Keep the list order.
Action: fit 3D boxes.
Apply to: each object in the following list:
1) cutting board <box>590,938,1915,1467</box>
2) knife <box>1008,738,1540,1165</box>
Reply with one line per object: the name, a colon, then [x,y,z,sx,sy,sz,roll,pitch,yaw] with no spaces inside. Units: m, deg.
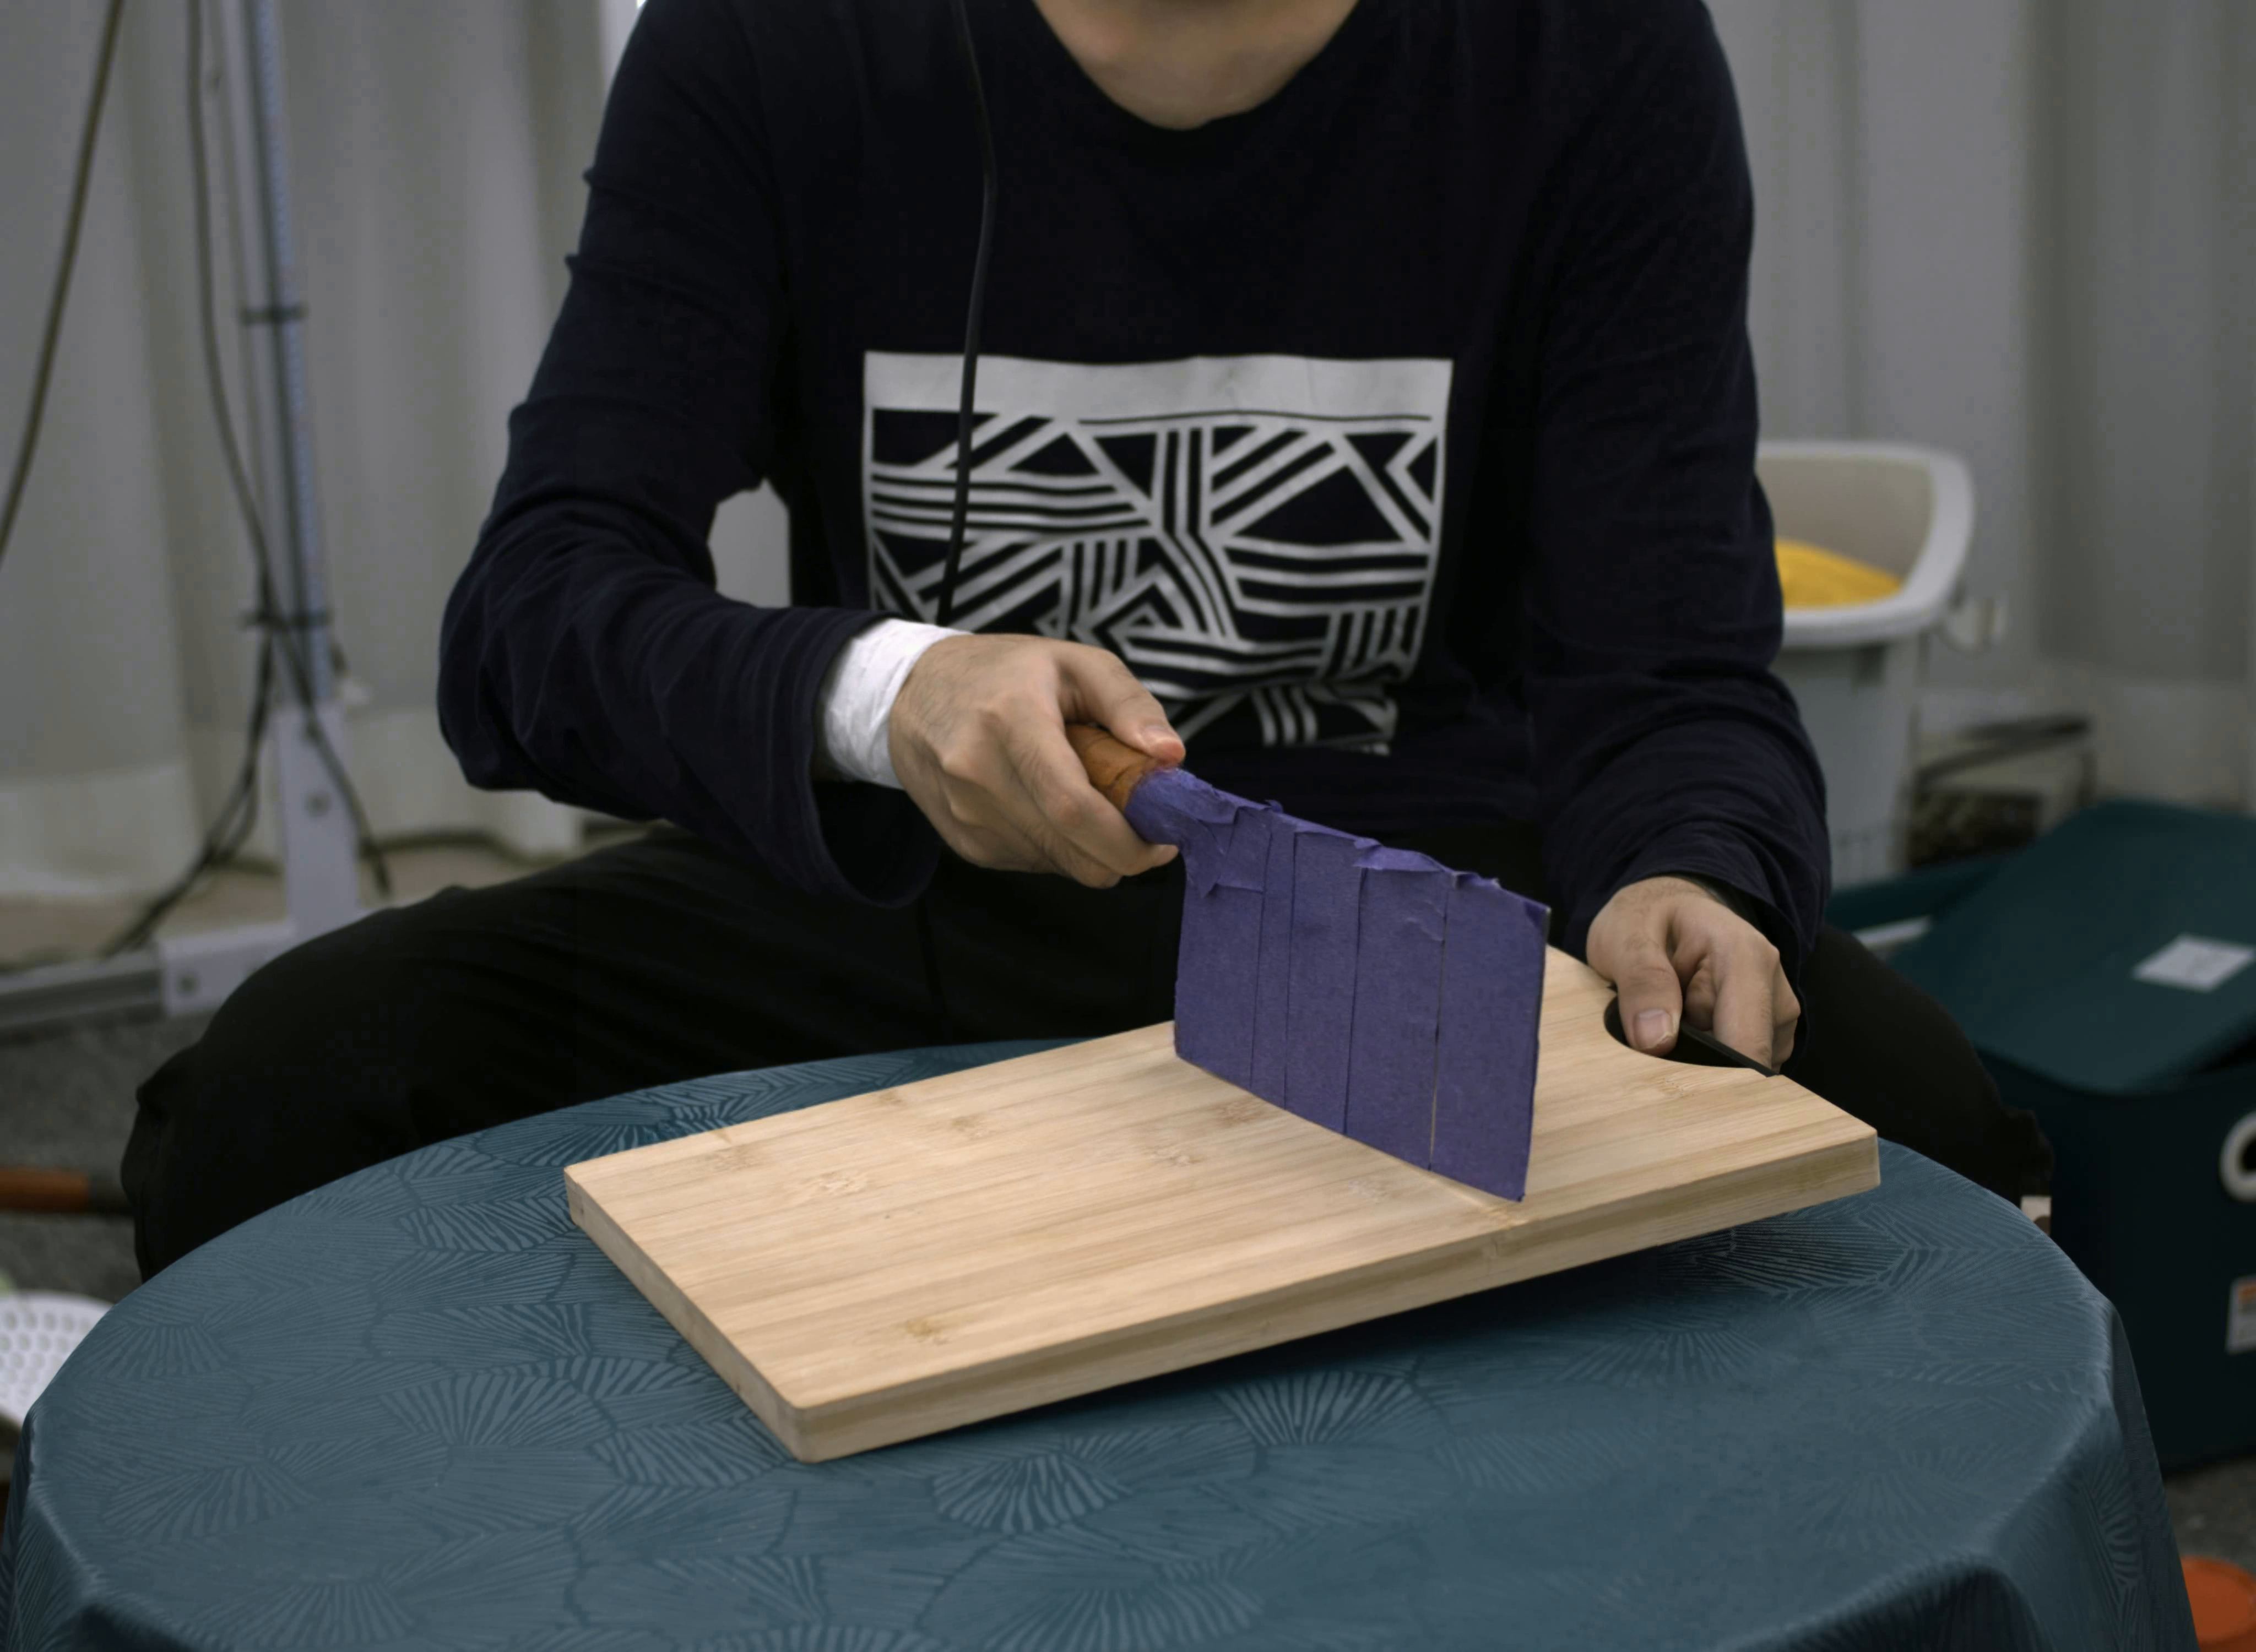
cutting board: [0.028,0.106,1.662,0.347,0.023,0.252,-13,17,-19]
knife: [0.039,0.037,1.692,0.032,0.104,0.317,3,7,-27]
